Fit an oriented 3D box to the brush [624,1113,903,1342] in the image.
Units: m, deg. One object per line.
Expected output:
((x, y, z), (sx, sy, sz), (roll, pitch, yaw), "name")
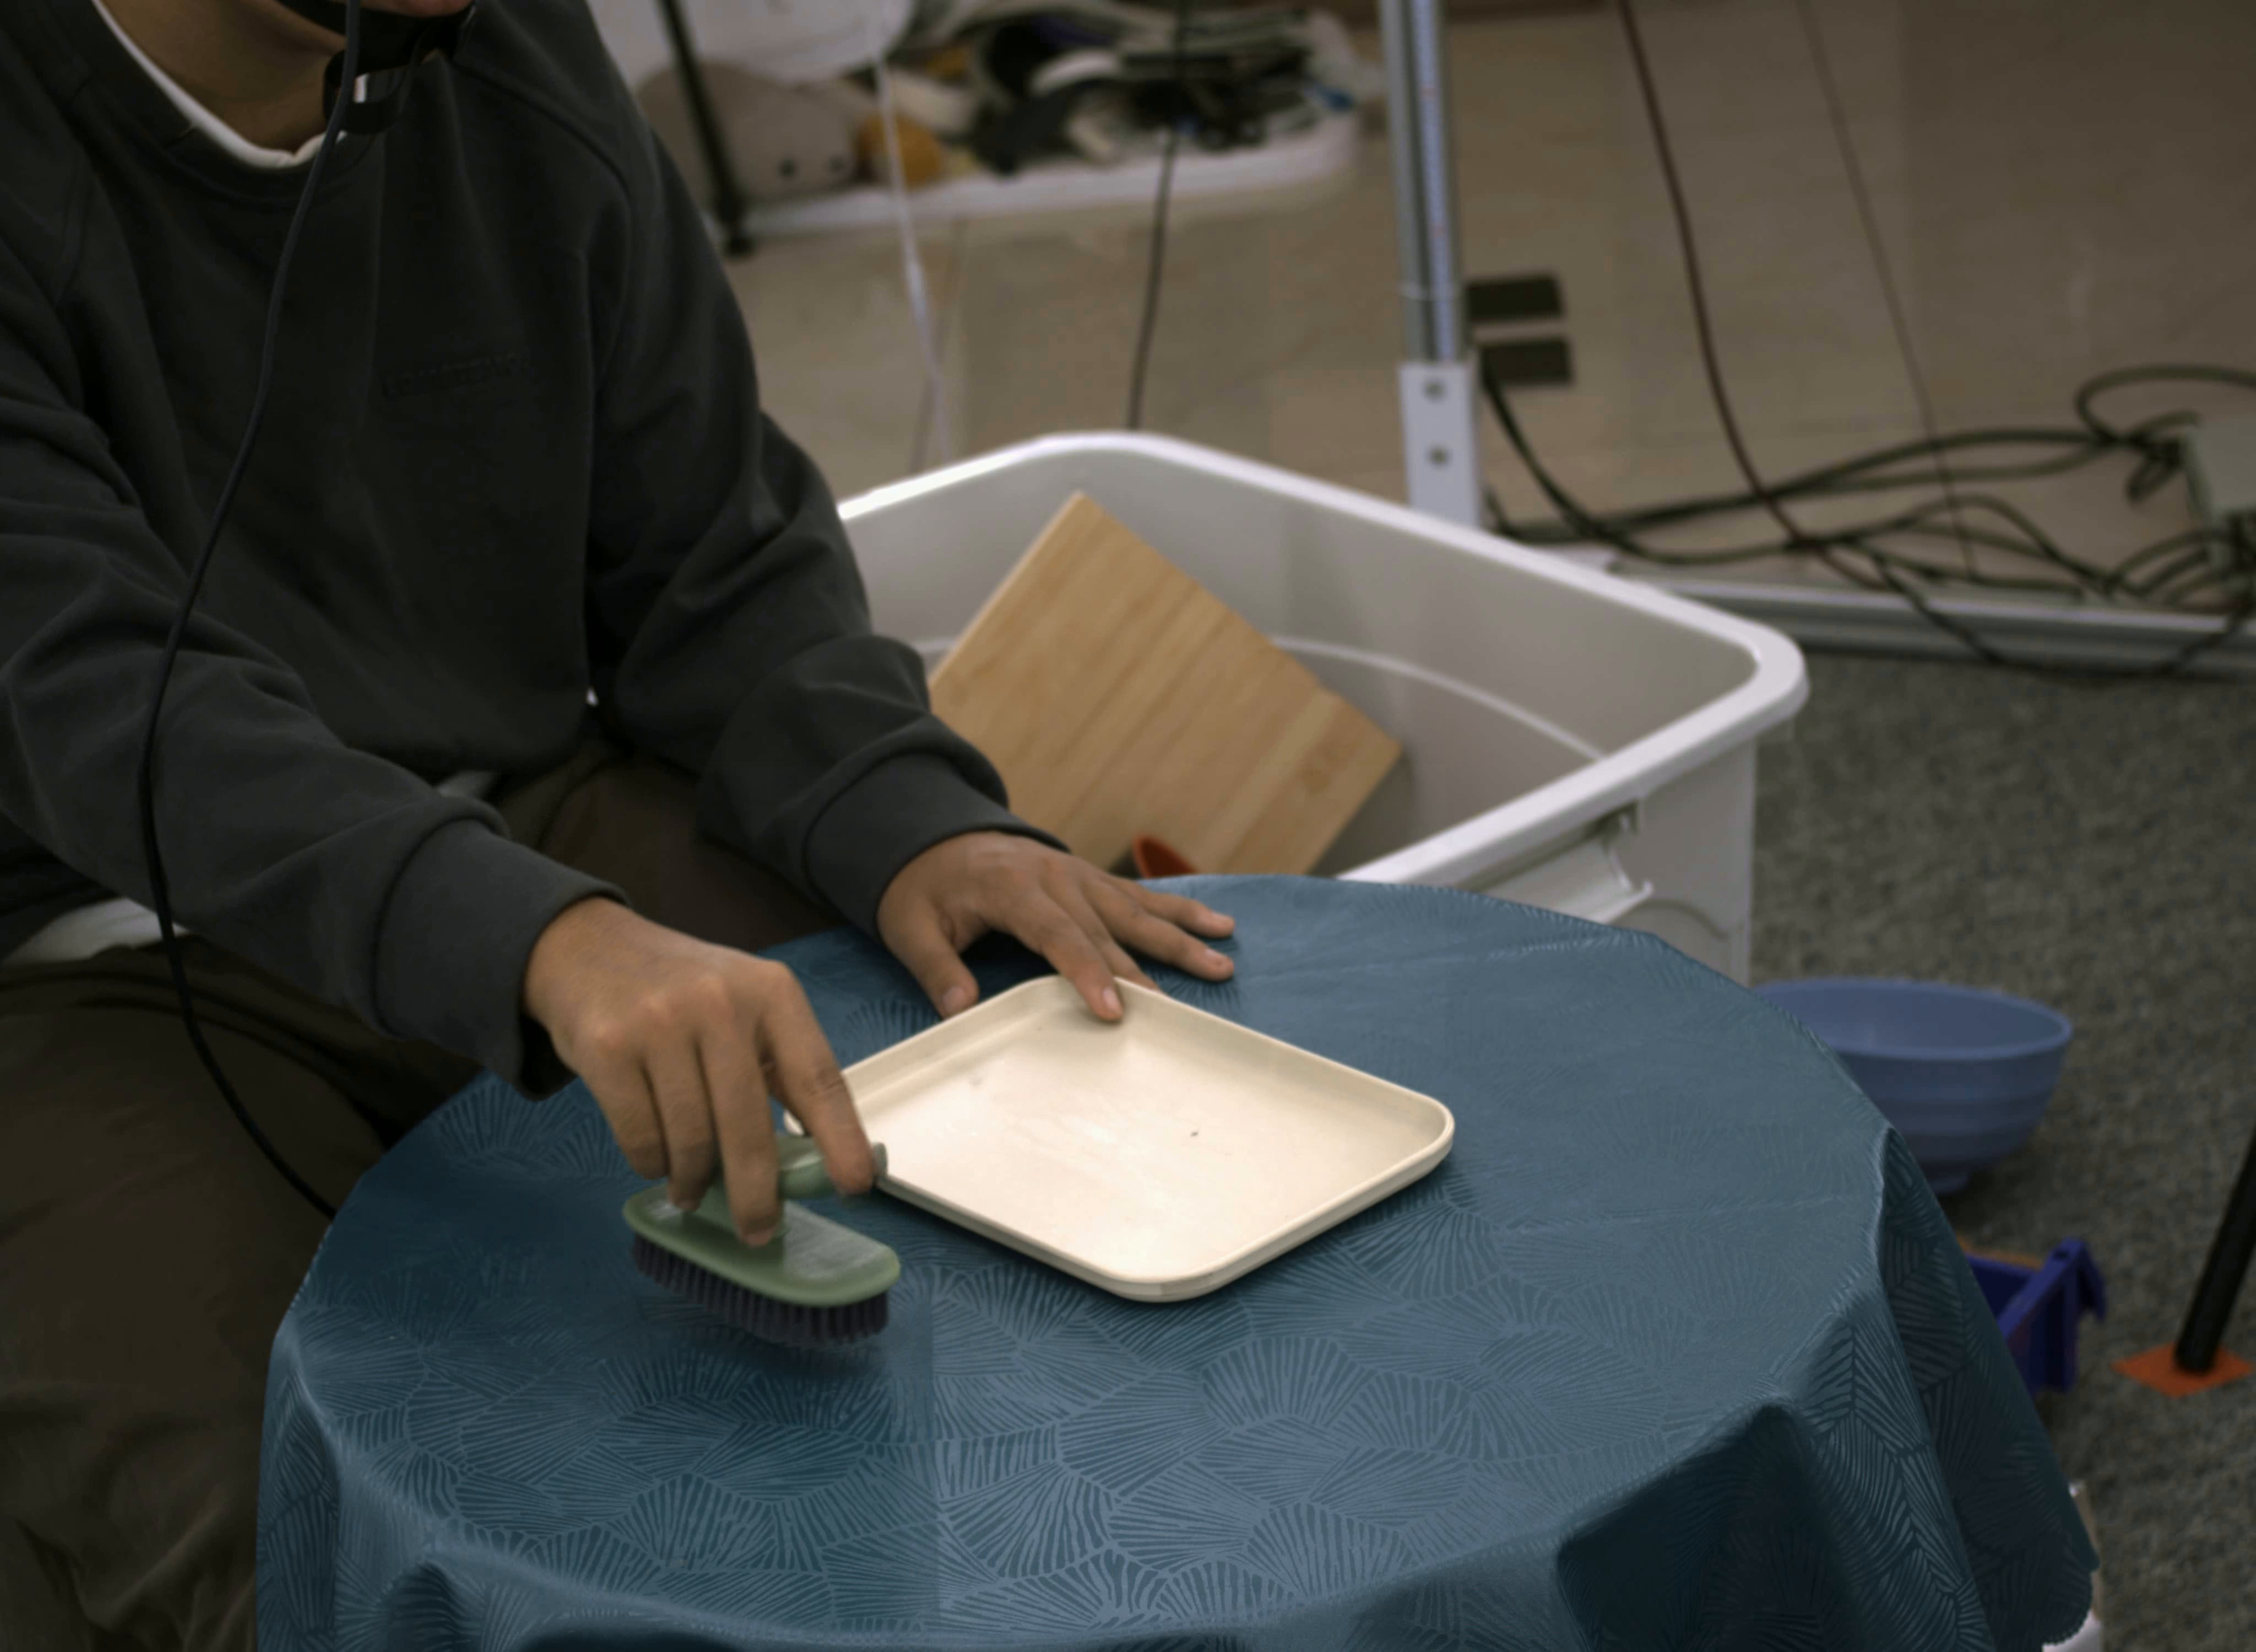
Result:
((-0.131, 0.143, 2.059), (0.122, 0.076, 0.059), (4, 13, 44), "brush")

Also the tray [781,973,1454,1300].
((-0.005, 0.118, 2.173), (0.170, 0.018, 0.238), (-25, 30, -36), "tray")
